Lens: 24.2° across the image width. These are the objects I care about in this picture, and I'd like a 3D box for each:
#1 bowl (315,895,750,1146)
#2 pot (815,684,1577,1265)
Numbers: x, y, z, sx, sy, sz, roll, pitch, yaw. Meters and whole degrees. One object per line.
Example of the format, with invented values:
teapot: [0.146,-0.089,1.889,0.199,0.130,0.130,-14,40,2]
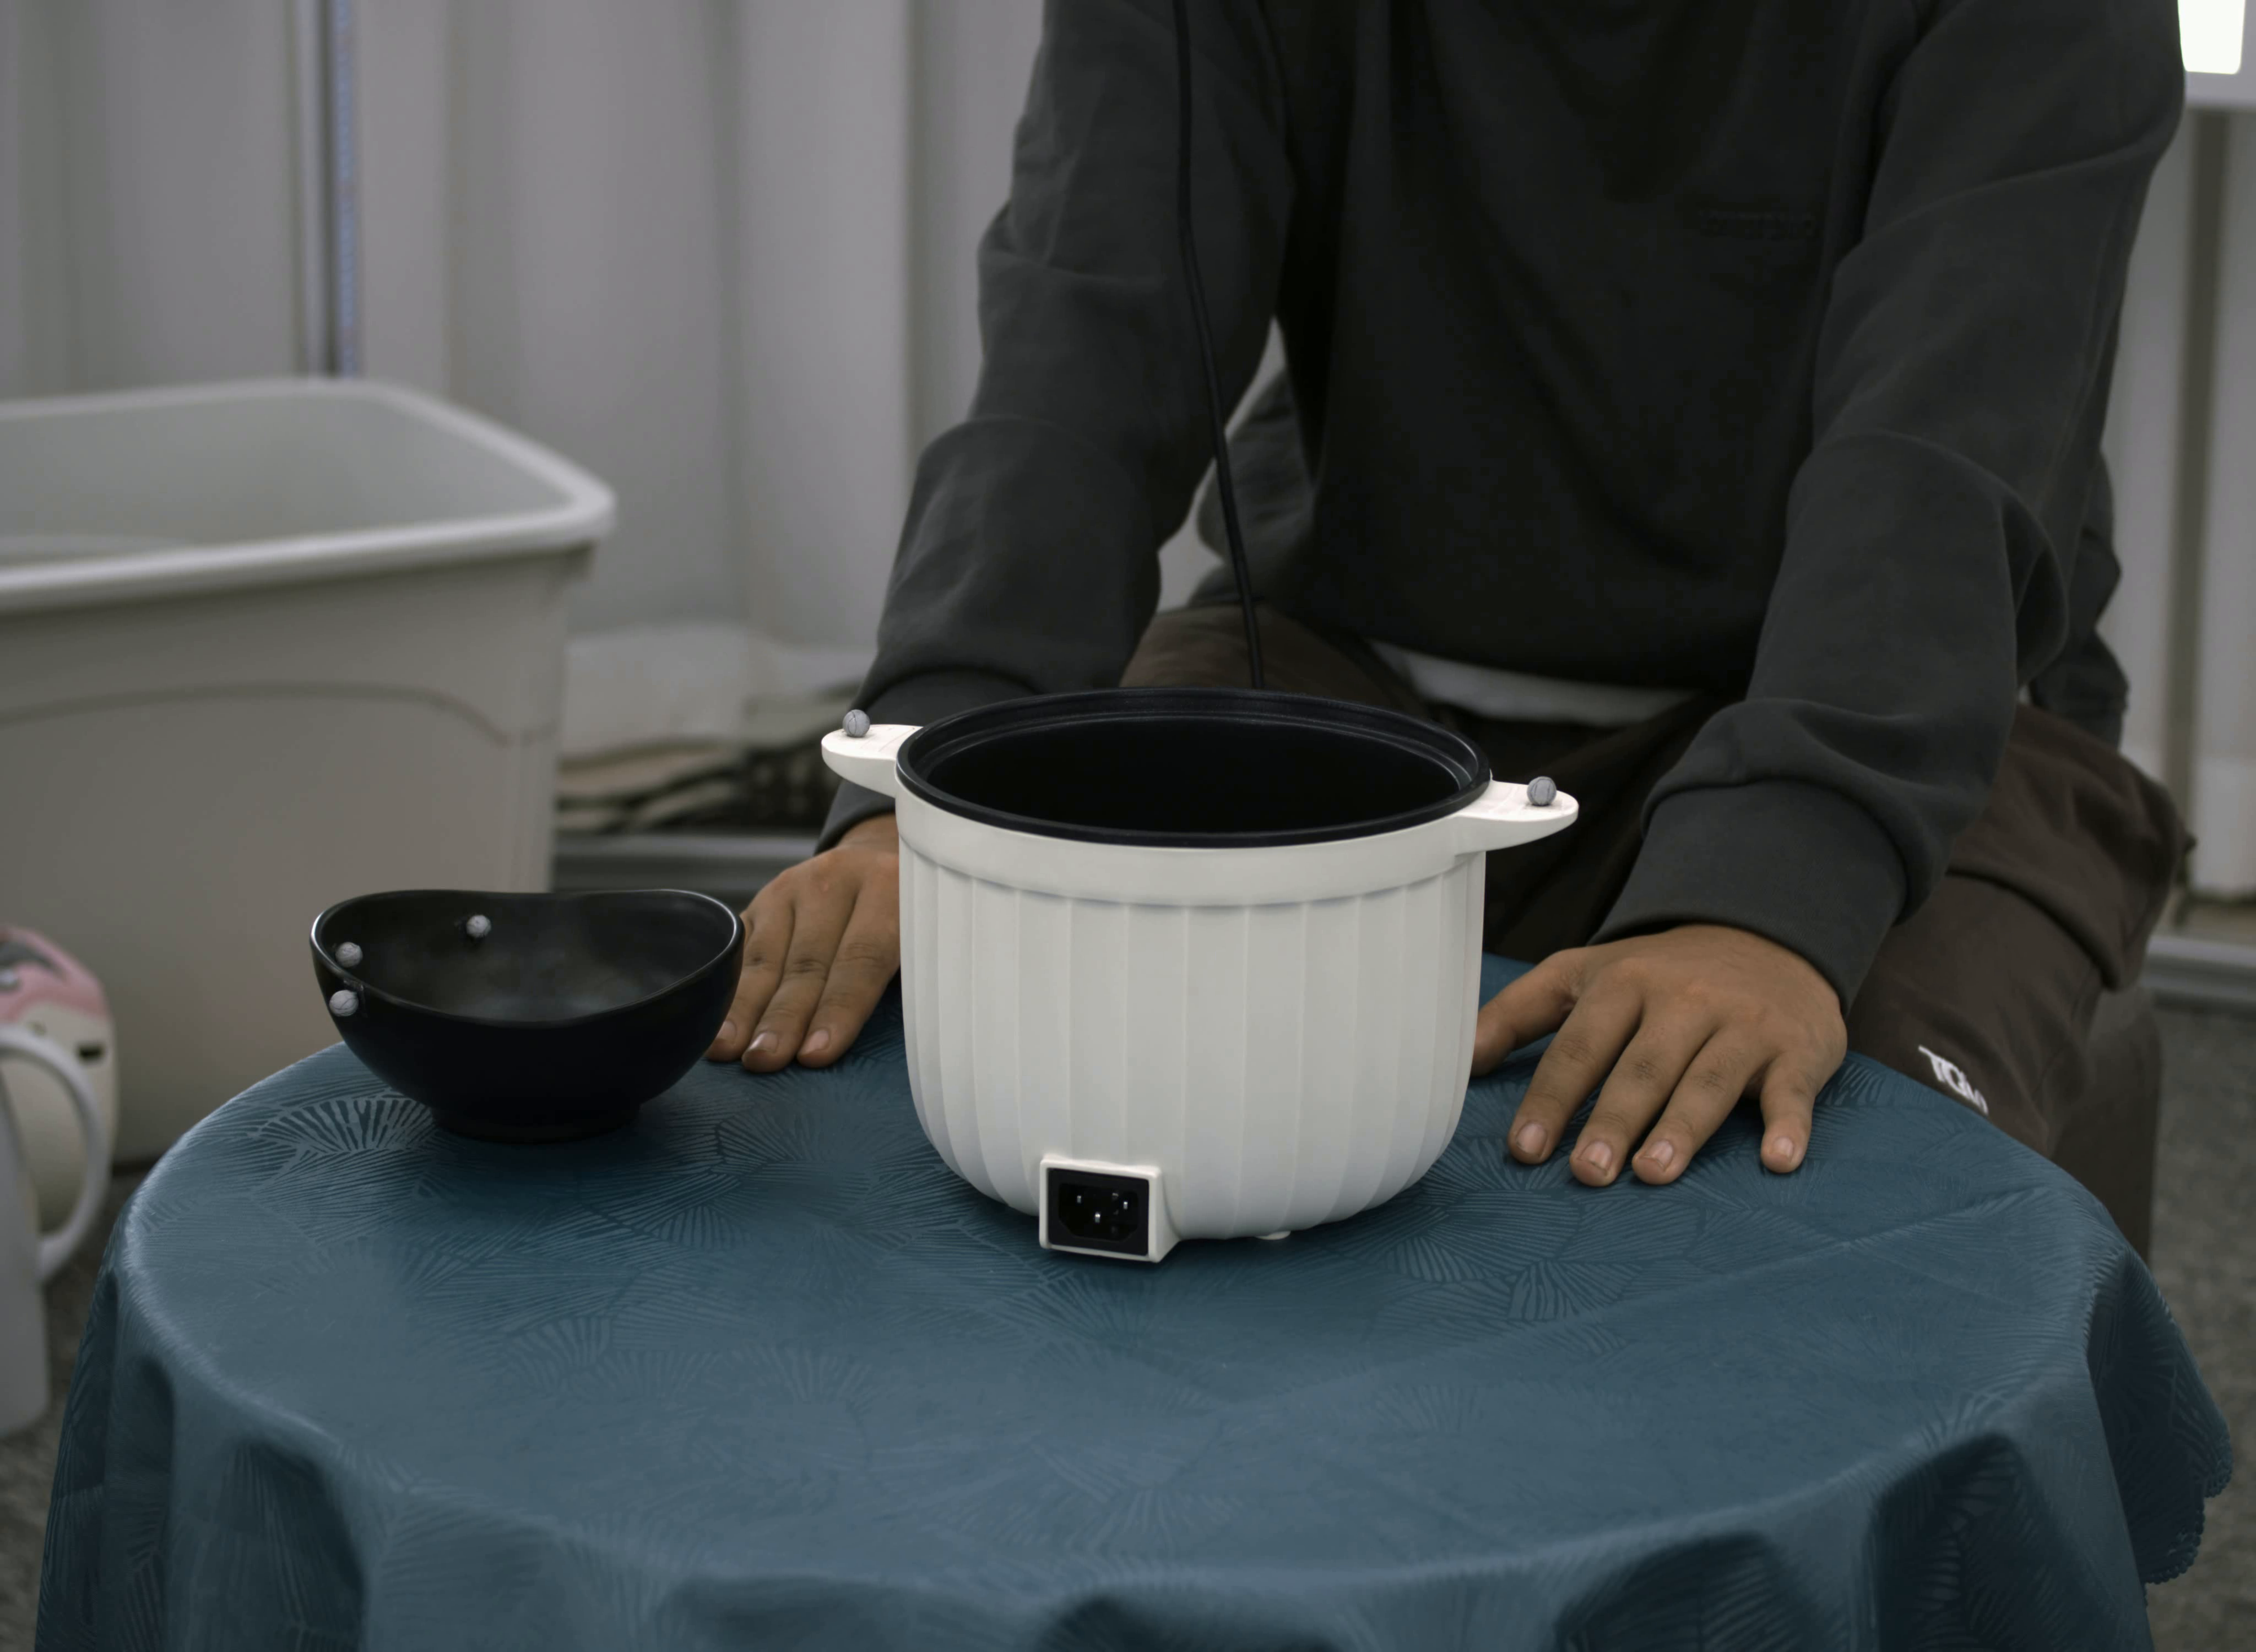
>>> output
bowl: [-0.189,0.062,1.679,0.137,0.067,0.169,0,14,-5]
pot: [0.019,0.042,1.624,0.238,0.144,0.190,7,20,16]
